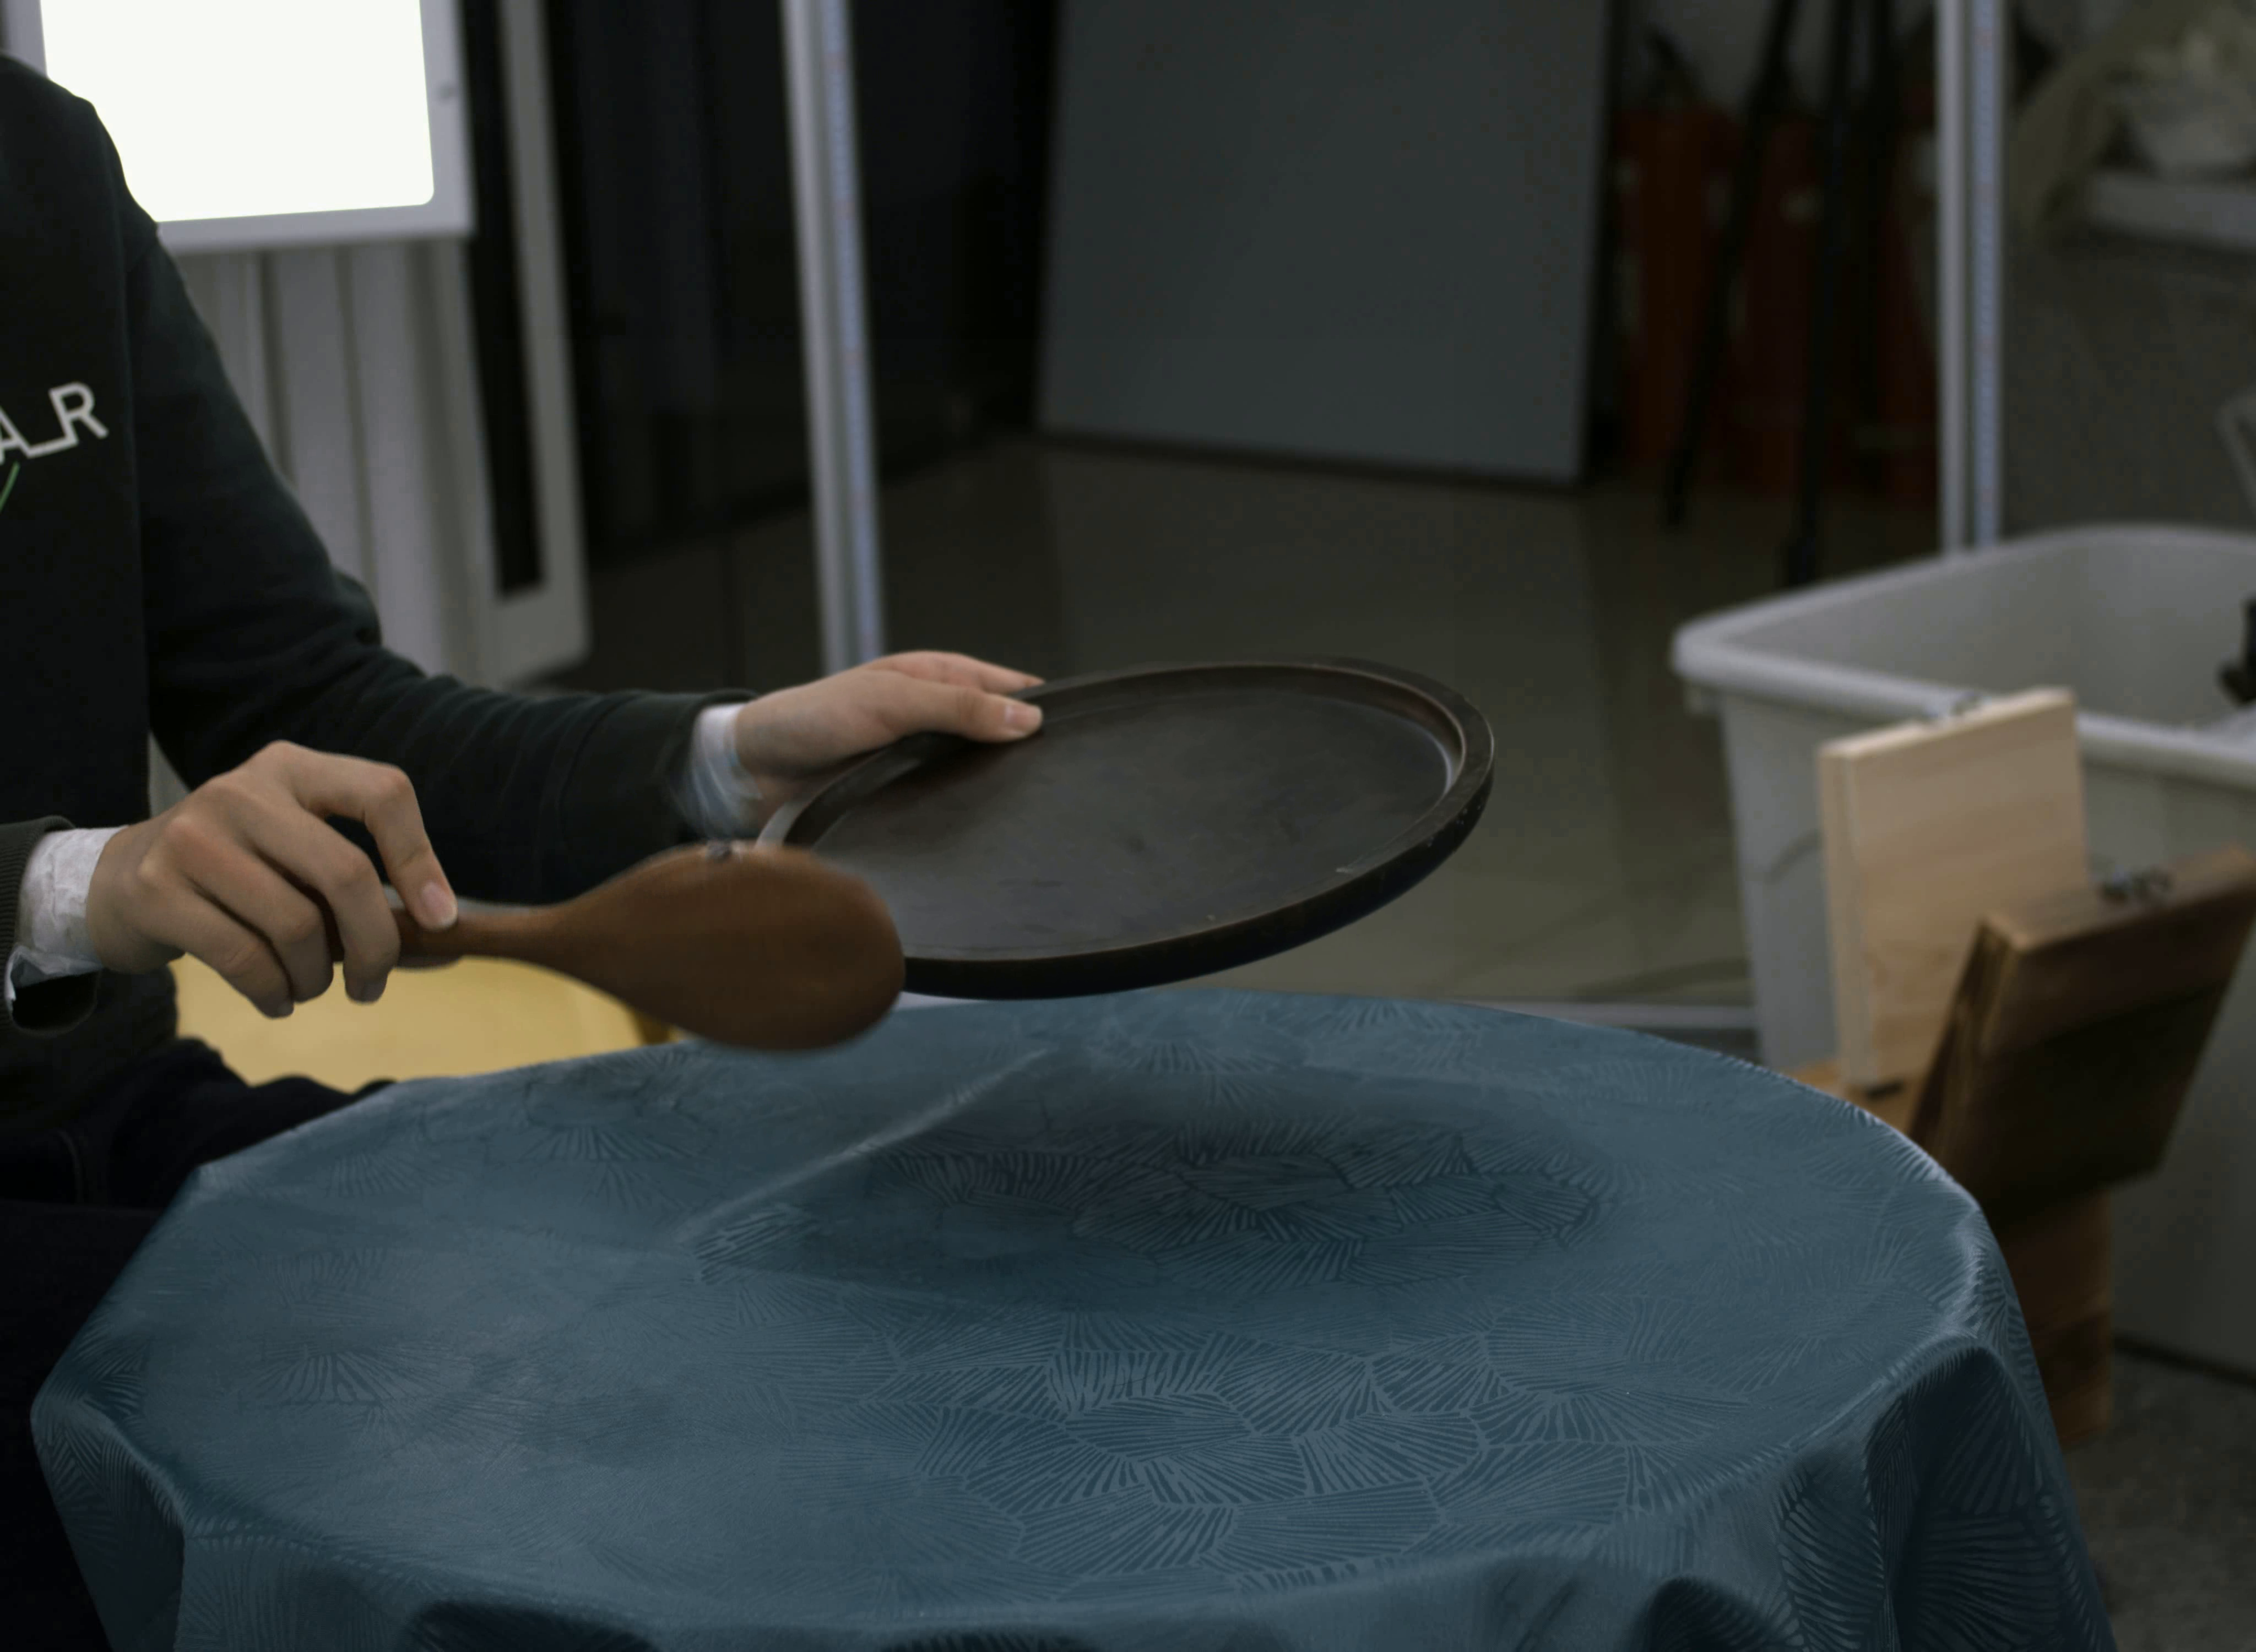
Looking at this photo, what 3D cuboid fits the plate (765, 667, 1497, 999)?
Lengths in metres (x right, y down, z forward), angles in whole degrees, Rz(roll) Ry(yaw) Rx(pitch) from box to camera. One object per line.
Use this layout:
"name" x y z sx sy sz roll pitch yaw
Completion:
"plate" 0.000 0.000 1.793 0.252 0.029 0.255 -9 21 3

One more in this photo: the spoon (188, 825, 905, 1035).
"spoon" -0.169 0.029 1.565 0.214 0.076 0.017 3 37 13
